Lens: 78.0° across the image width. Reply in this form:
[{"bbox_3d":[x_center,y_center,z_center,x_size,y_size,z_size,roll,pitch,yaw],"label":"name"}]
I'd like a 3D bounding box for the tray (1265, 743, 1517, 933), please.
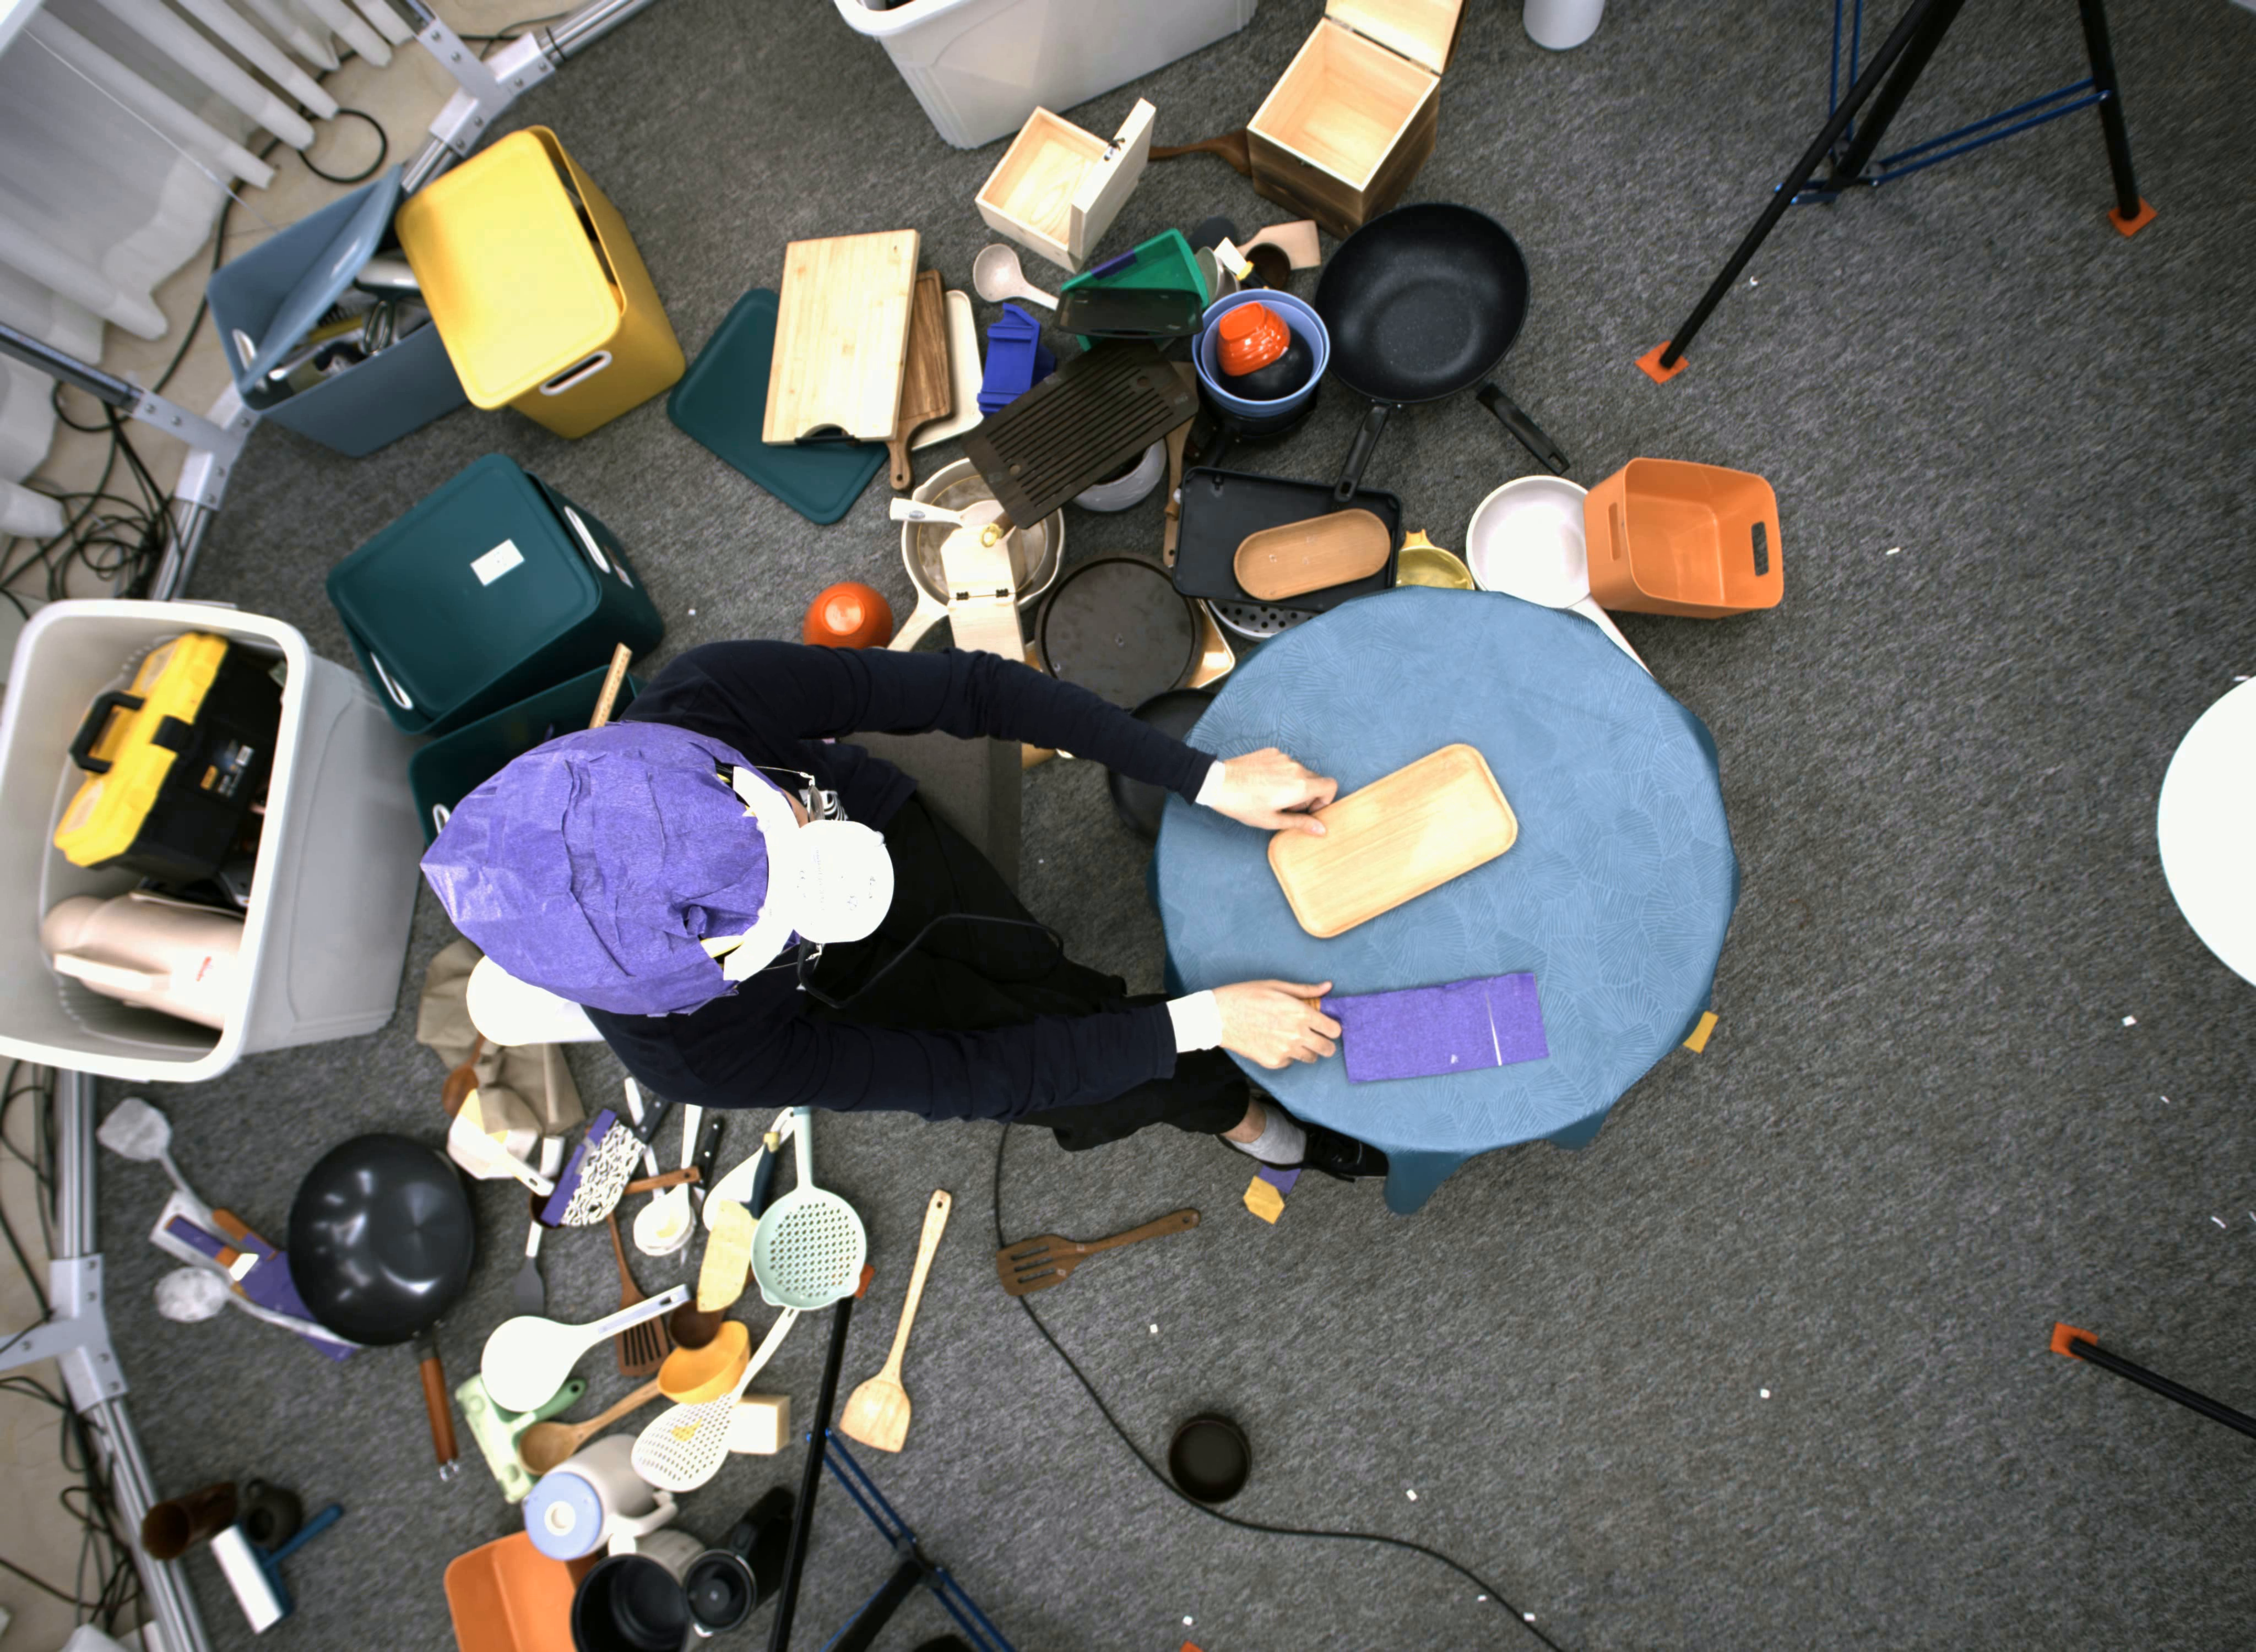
[{"bbox_3d":[0.276,0.012,1.454,0.252,0.023,0.129,-25,80,9],"label":"tray"}]

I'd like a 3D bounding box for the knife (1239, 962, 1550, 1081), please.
[{"bbox_3d":[0.276,0.213,1.437,0.317,0.032,0.103,-10,86,10],"label":"knife"}]
